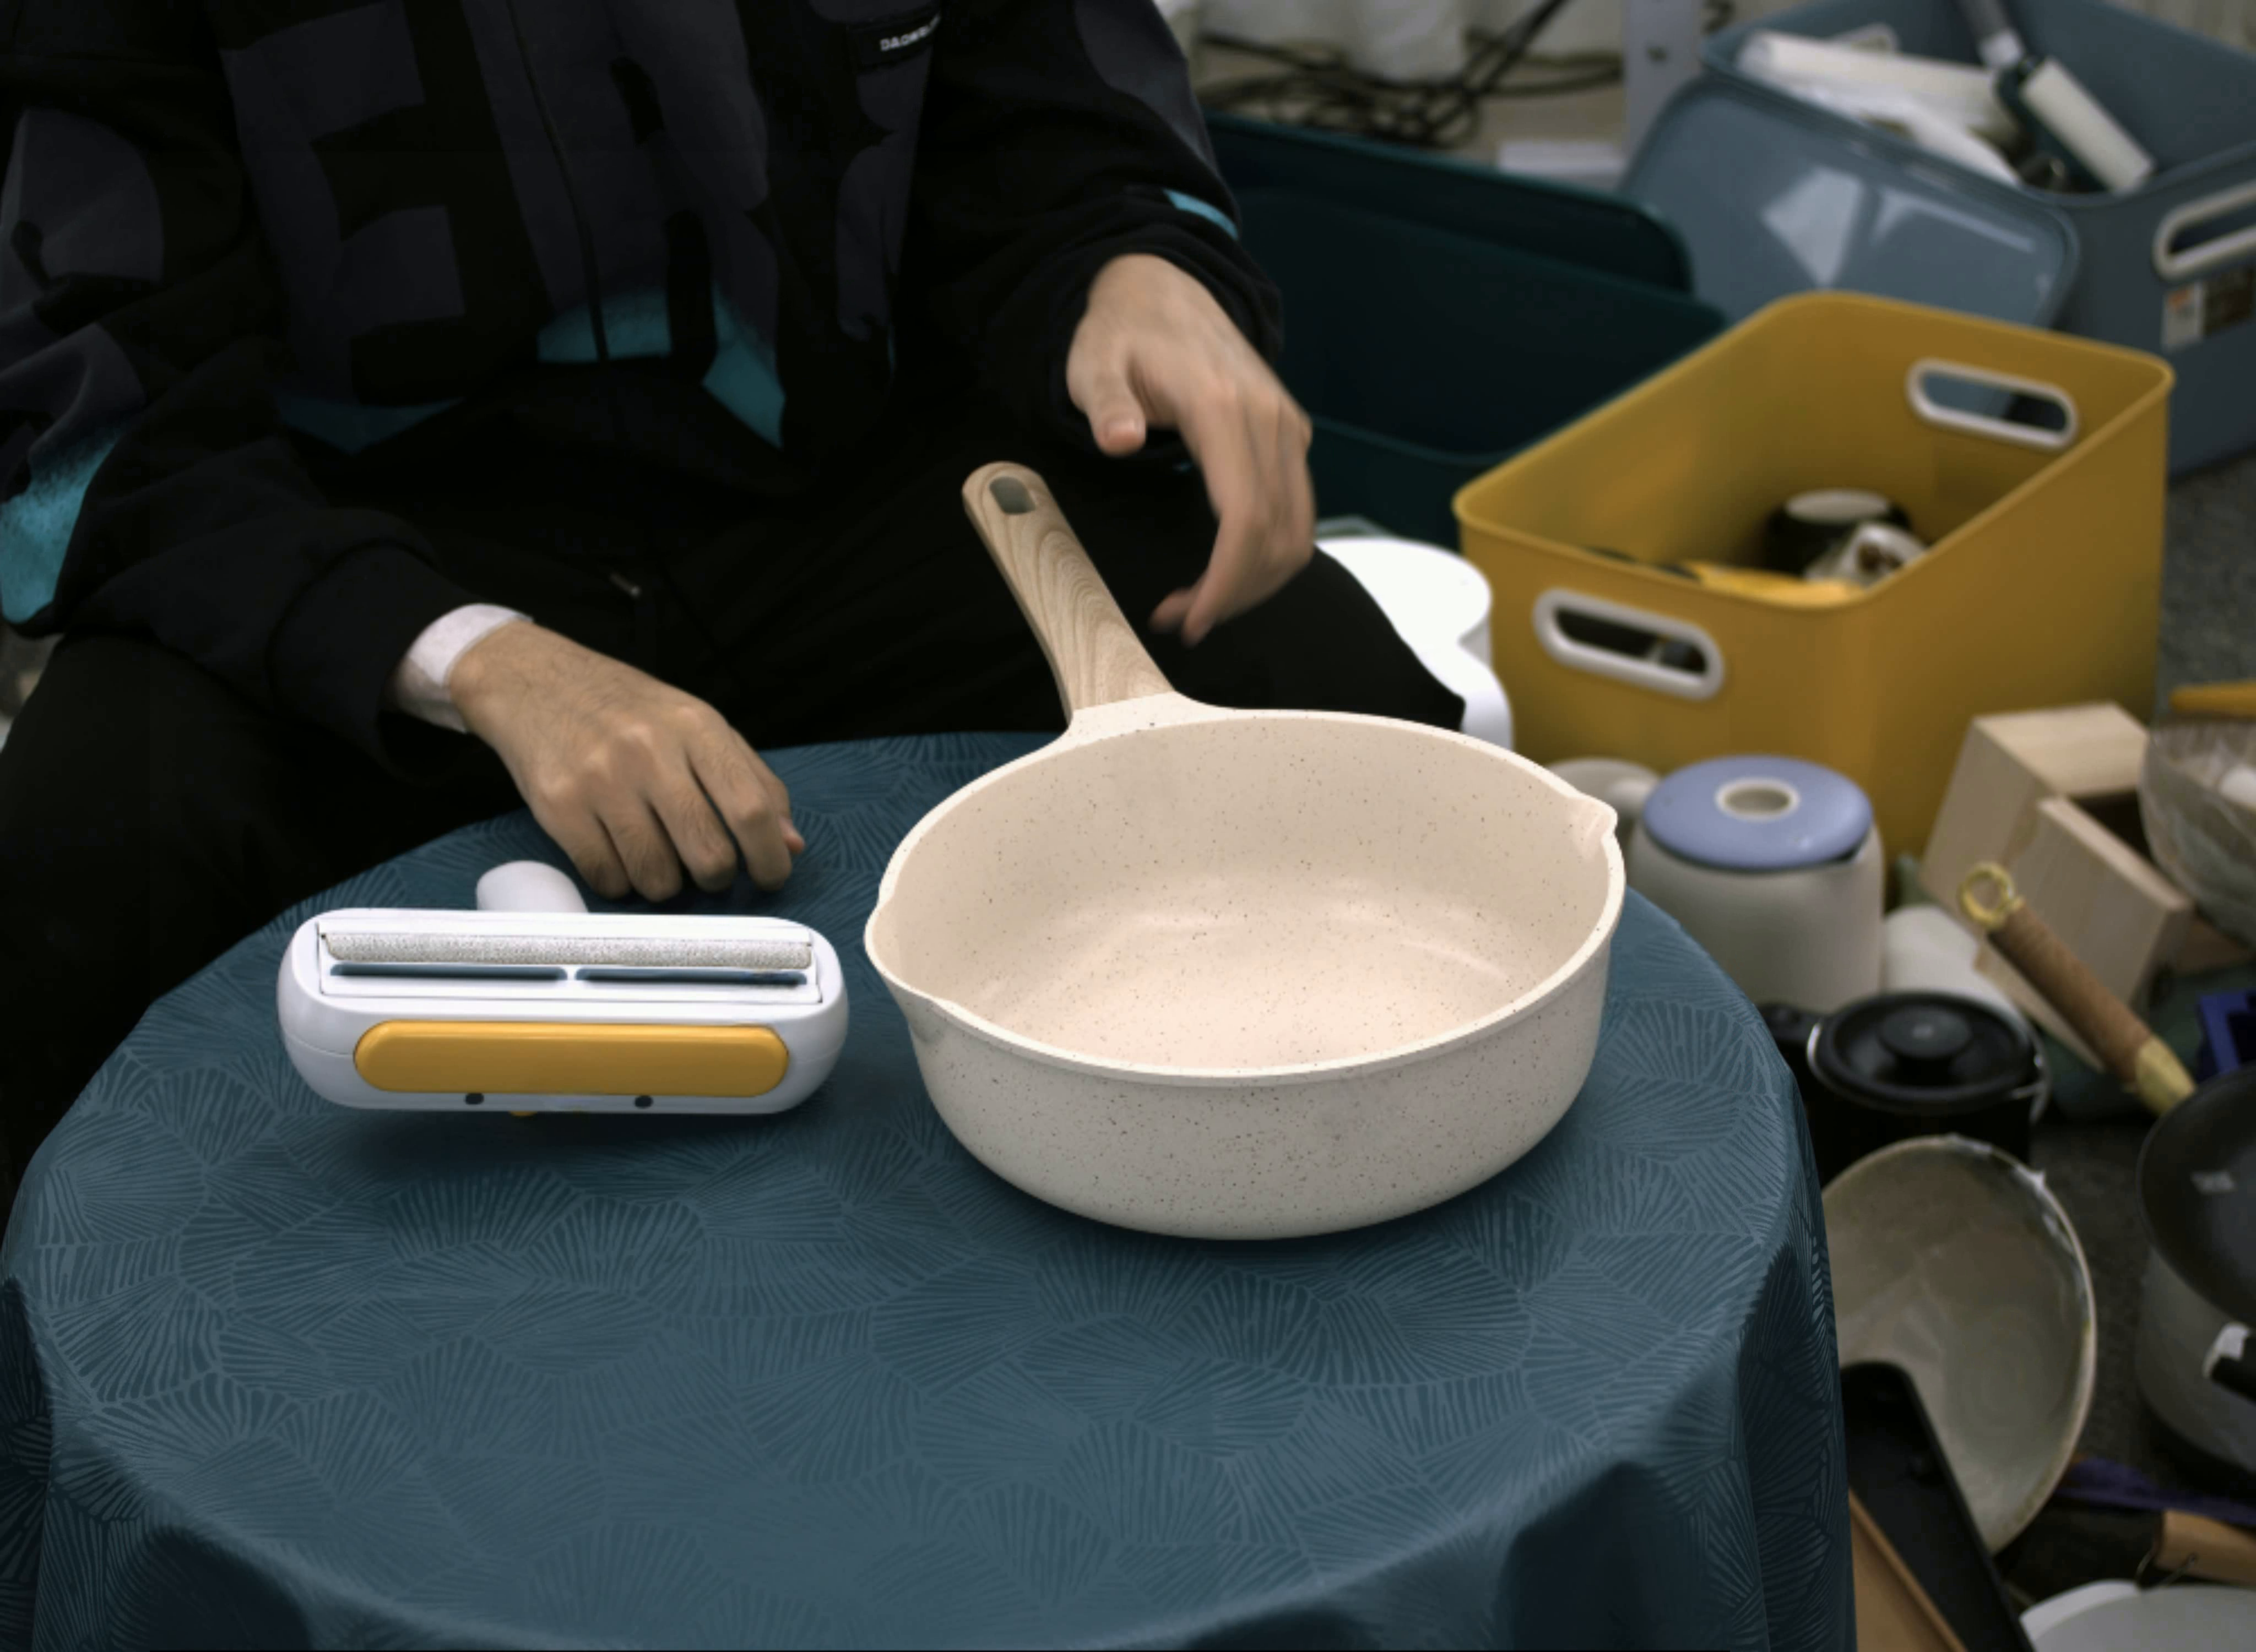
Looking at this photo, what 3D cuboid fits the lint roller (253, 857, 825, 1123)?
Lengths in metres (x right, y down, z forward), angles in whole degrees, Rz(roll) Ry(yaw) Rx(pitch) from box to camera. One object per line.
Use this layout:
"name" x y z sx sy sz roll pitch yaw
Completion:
"lint roller" -0.205 0.045 1.955 0.192 0.073 0.195 -1 26 -7

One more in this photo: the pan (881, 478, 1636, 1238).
"pan" 0.019 0.006 1.974 0.264 0.101 0.439 -13 29 -13
